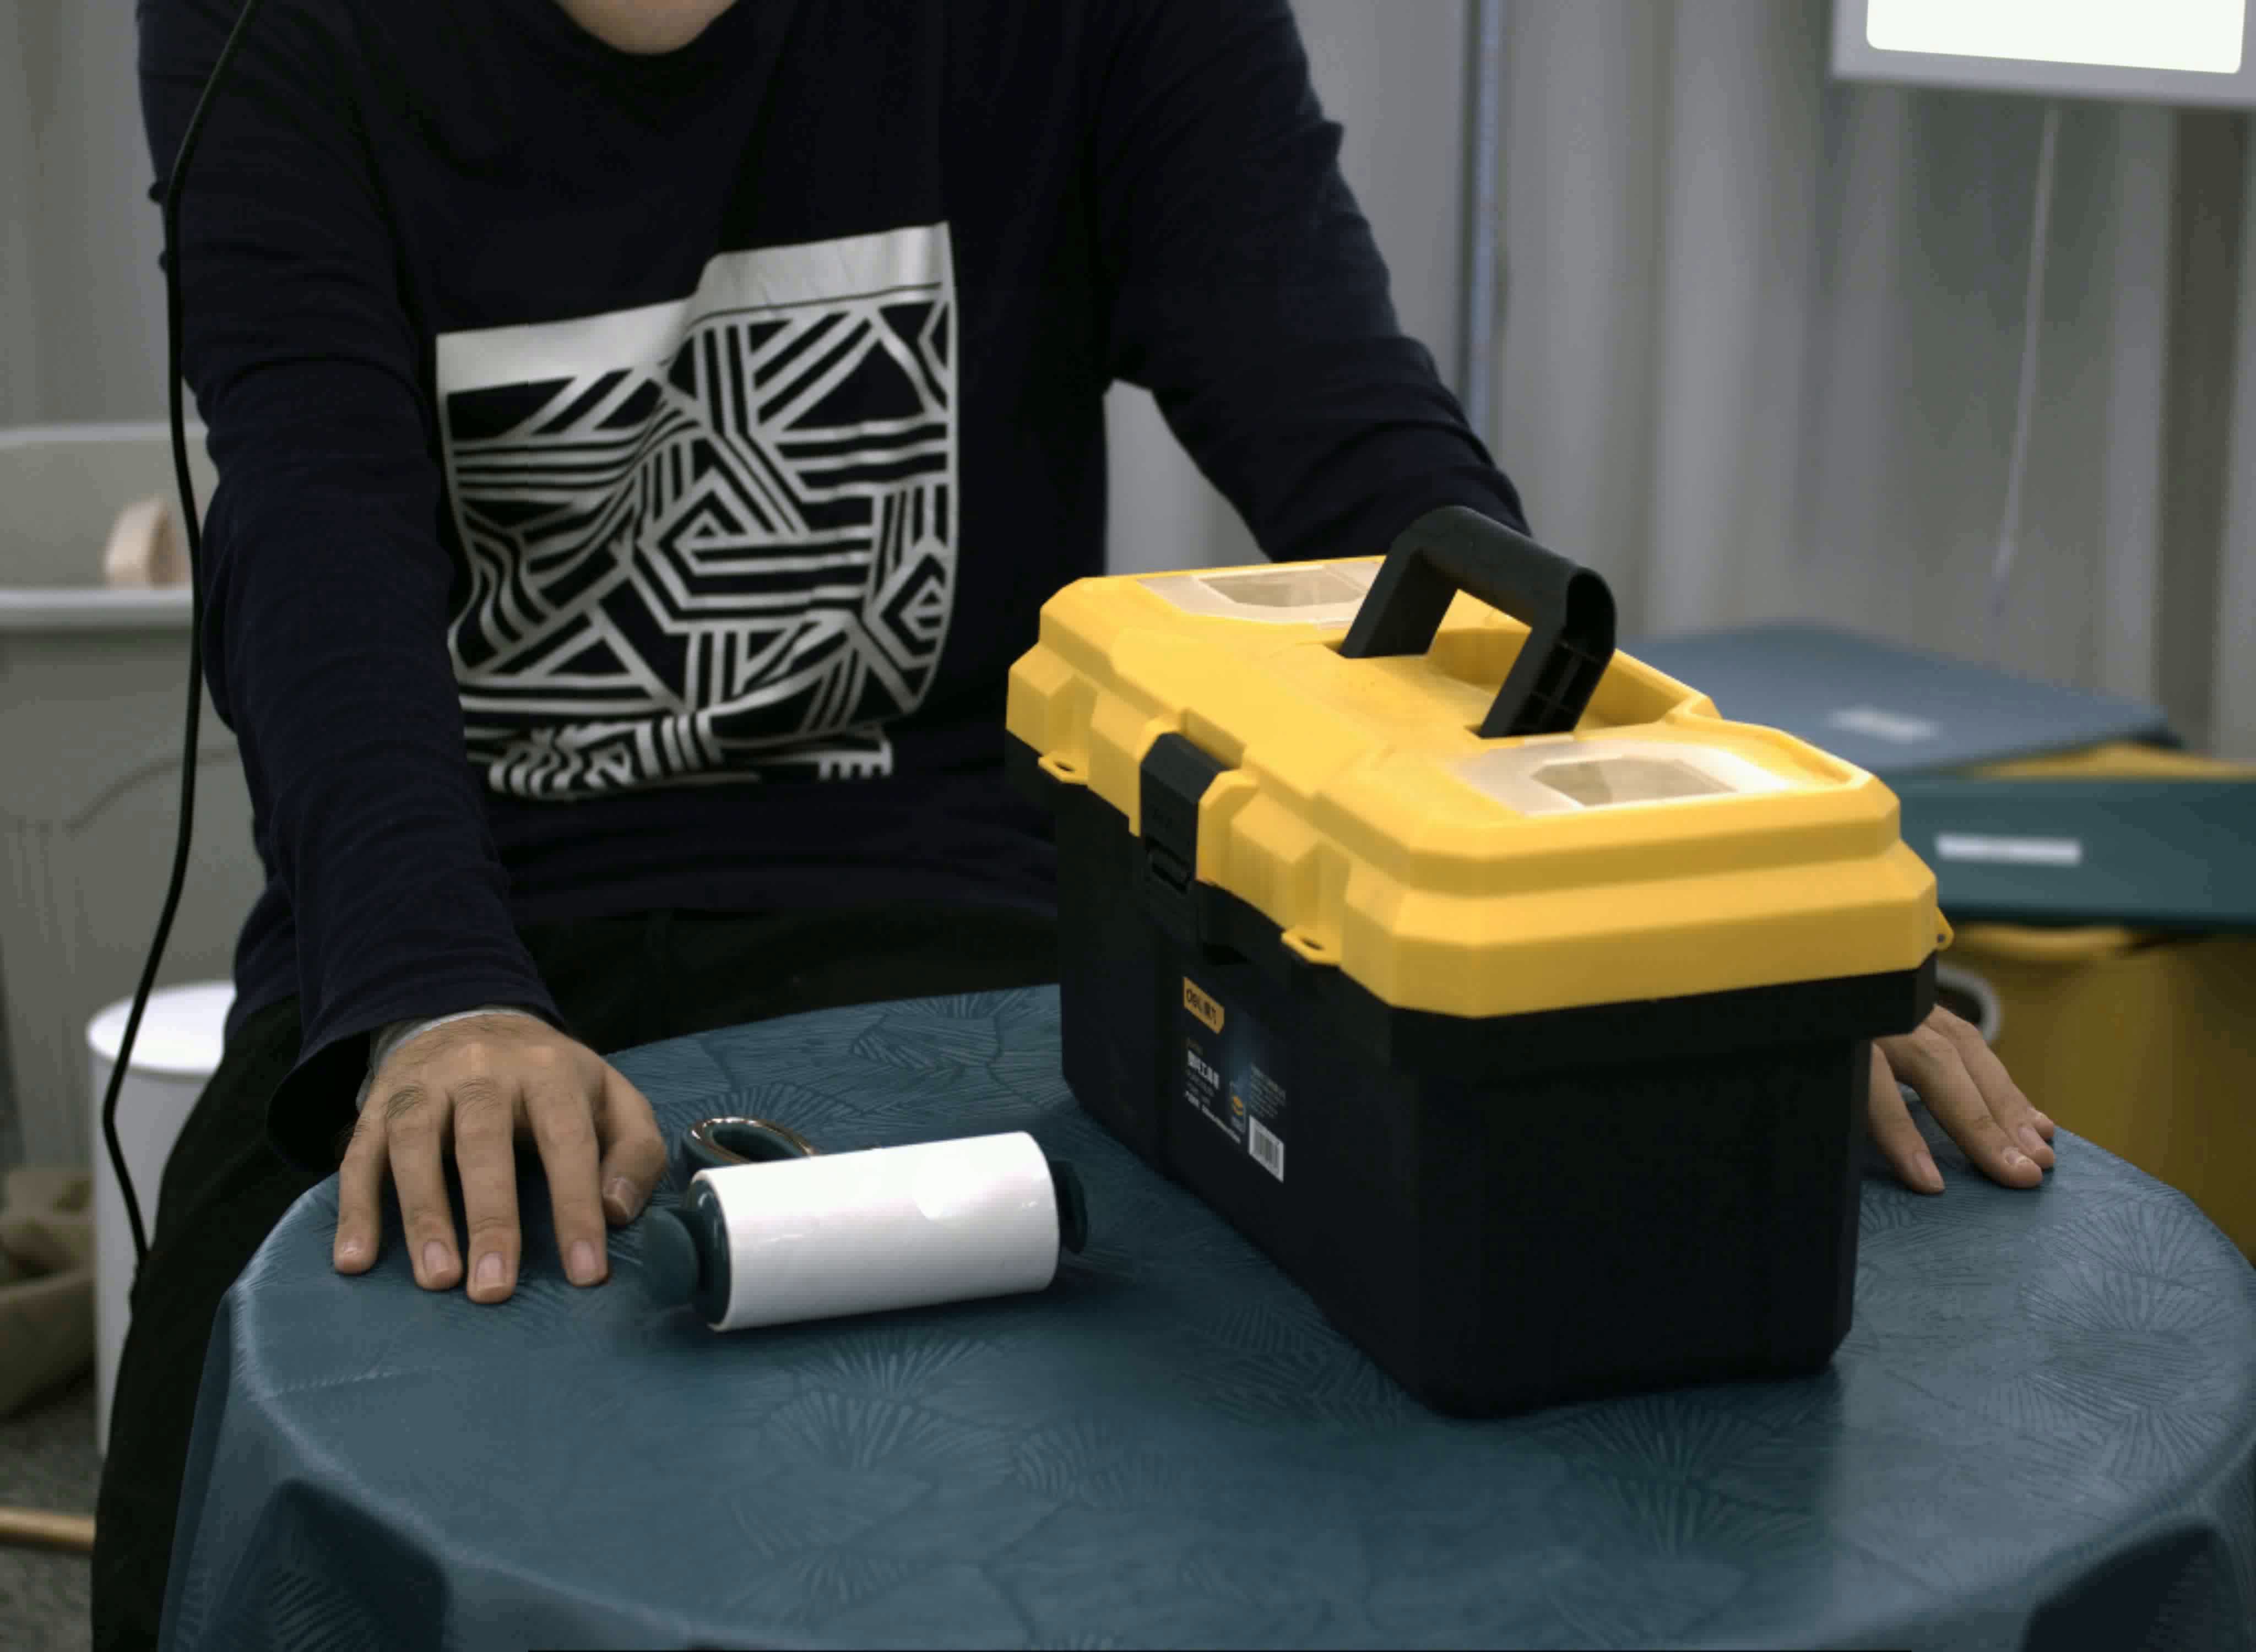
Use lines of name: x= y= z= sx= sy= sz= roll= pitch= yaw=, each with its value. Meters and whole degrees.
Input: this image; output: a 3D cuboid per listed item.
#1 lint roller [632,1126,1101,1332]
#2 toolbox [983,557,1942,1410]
lint roller: x=-0.100 y=0.104 z=1.577 sx=0.135 sy=0.048 sz=0.178 roll=-7 pitch=13 yaw=-21
toolbox: x=0.090 y=0.037 z=1.574 sx=0.182 sy=0.174 sz=0.347 roll=-5 pitch=16 yaw=-20
